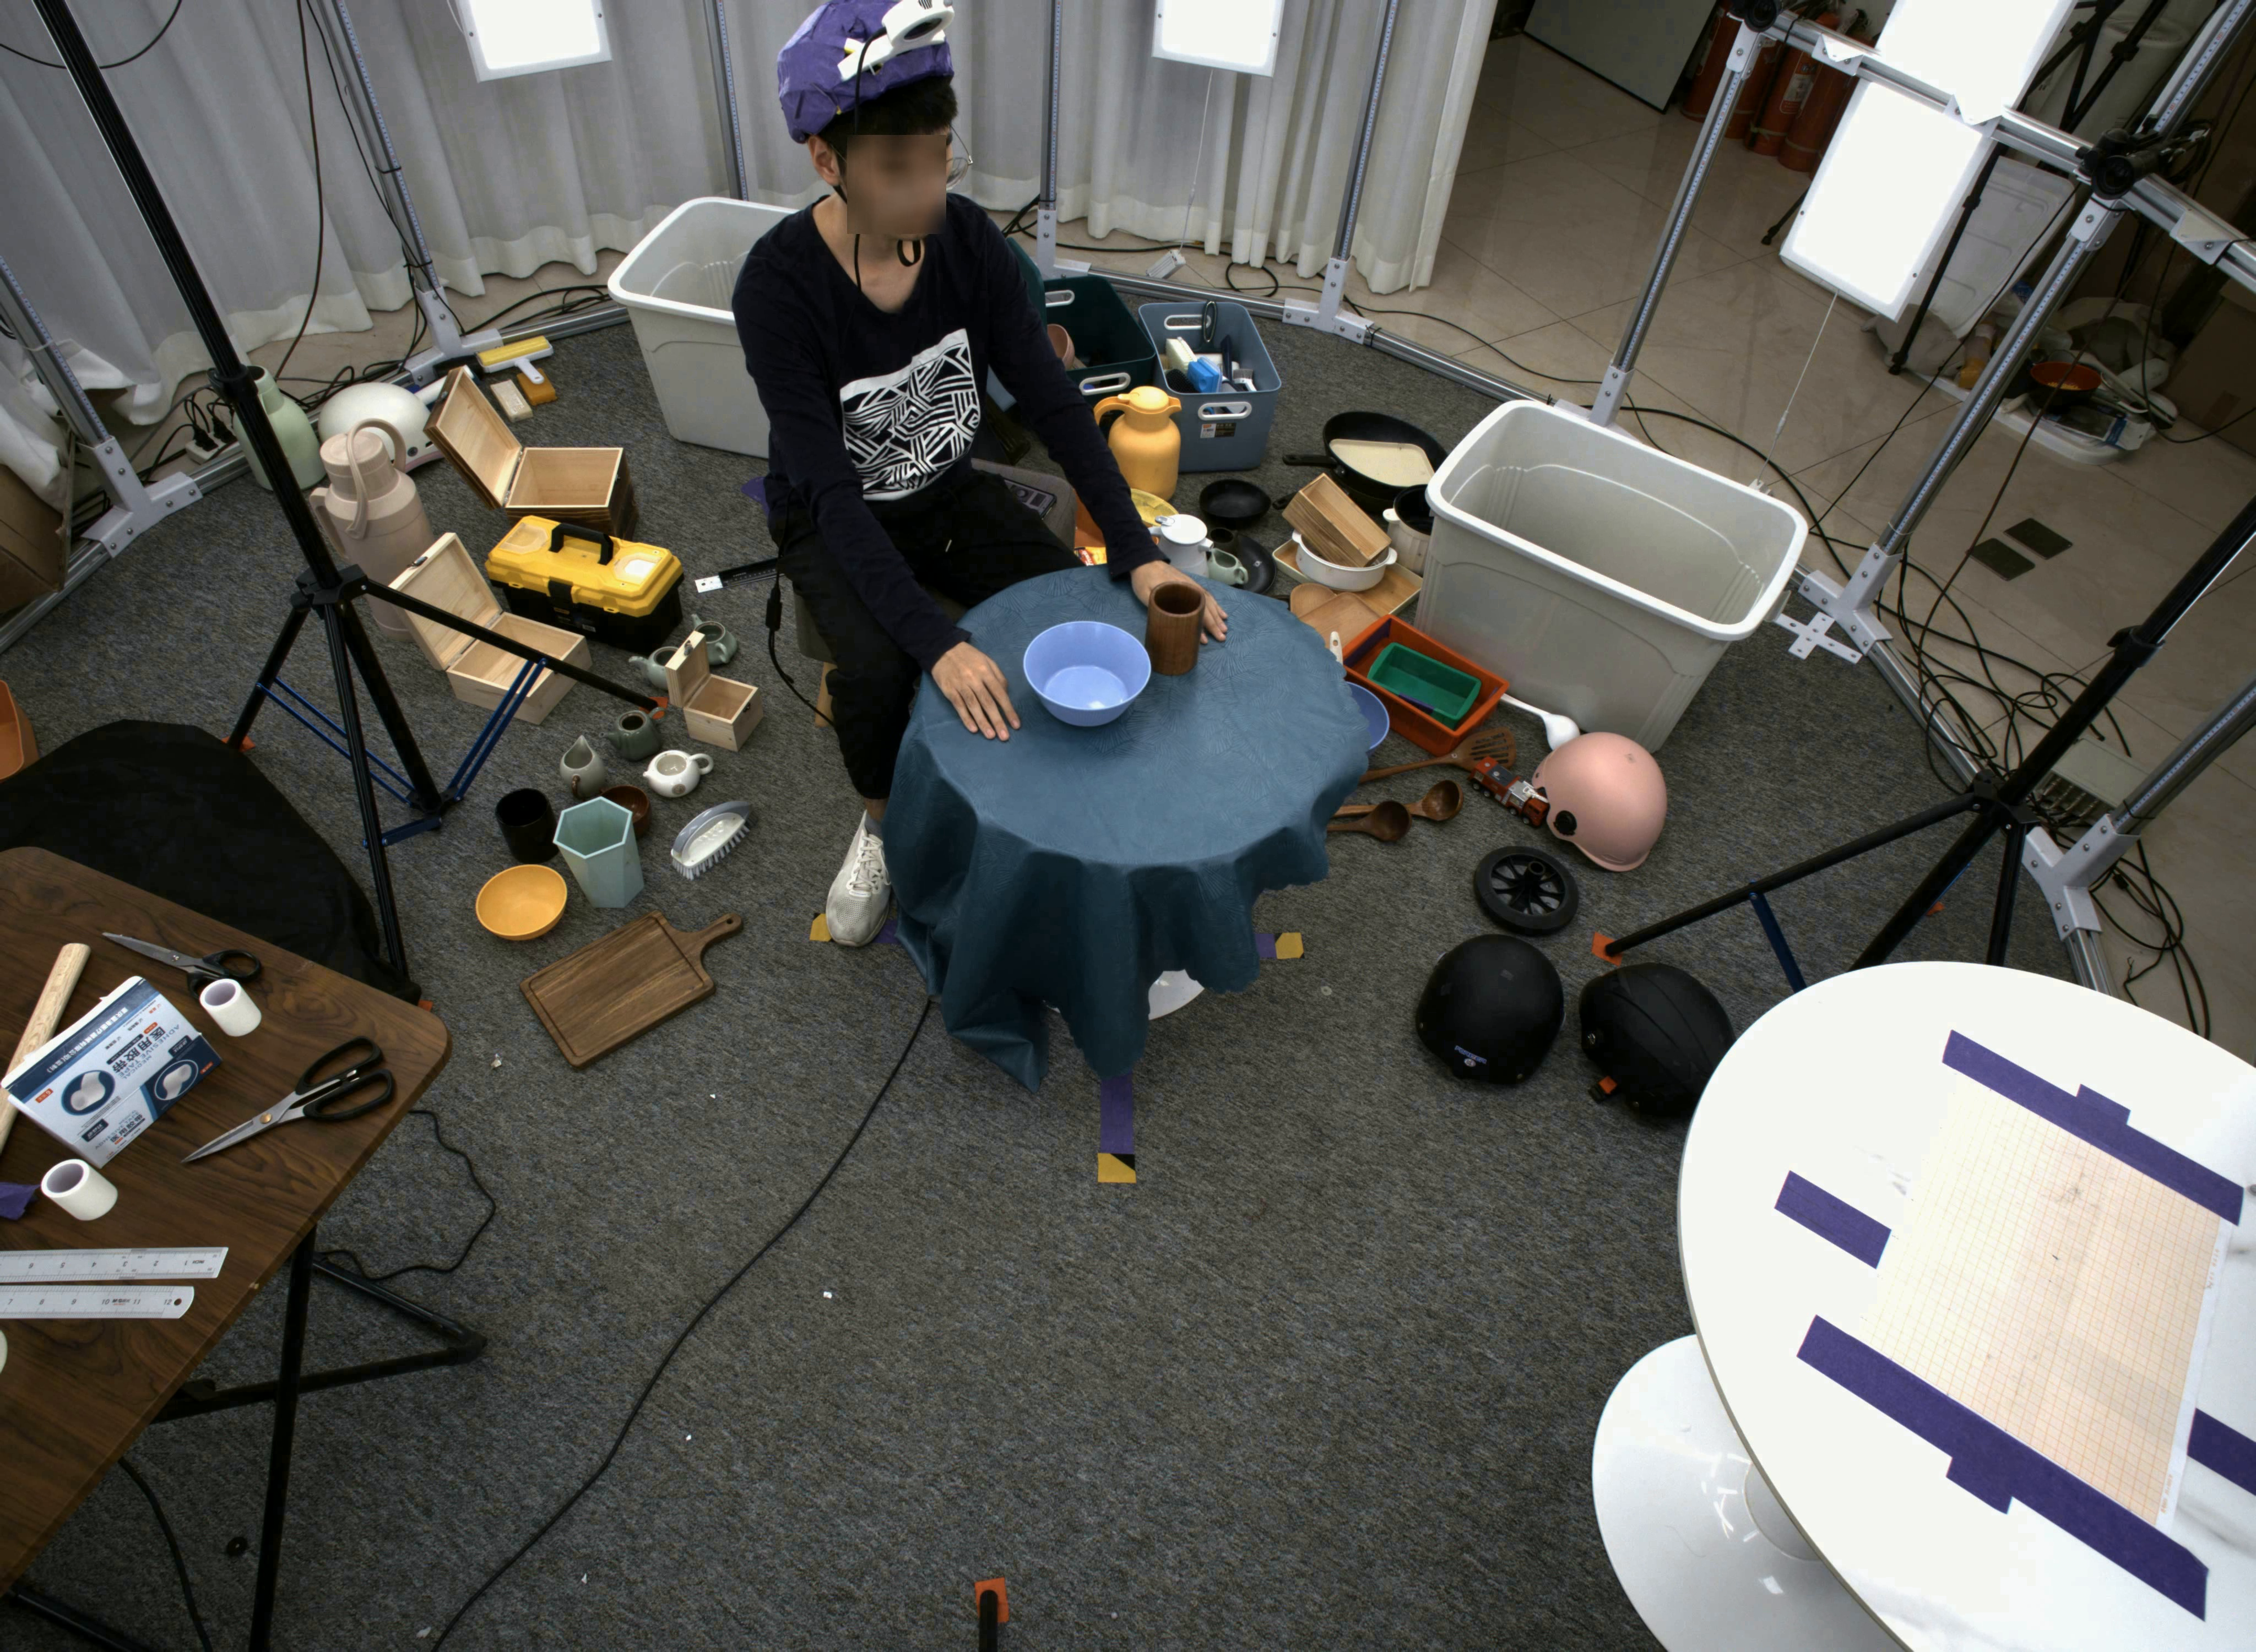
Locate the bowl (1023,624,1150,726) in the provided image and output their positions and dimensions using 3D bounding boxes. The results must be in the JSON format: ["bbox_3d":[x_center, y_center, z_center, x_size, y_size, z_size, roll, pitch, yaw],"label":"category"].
[{"bbox_3d":[-0.059,-0.203,1.795,0.176,0.068,0.180,2,48,-2],"label":"bowl"}]

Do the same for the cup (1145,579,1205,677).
[{"bbox_3d":[0.066,-0.283,1.843,0.087,0.115,0.090,1,46,-2],"label":"cup"}]
